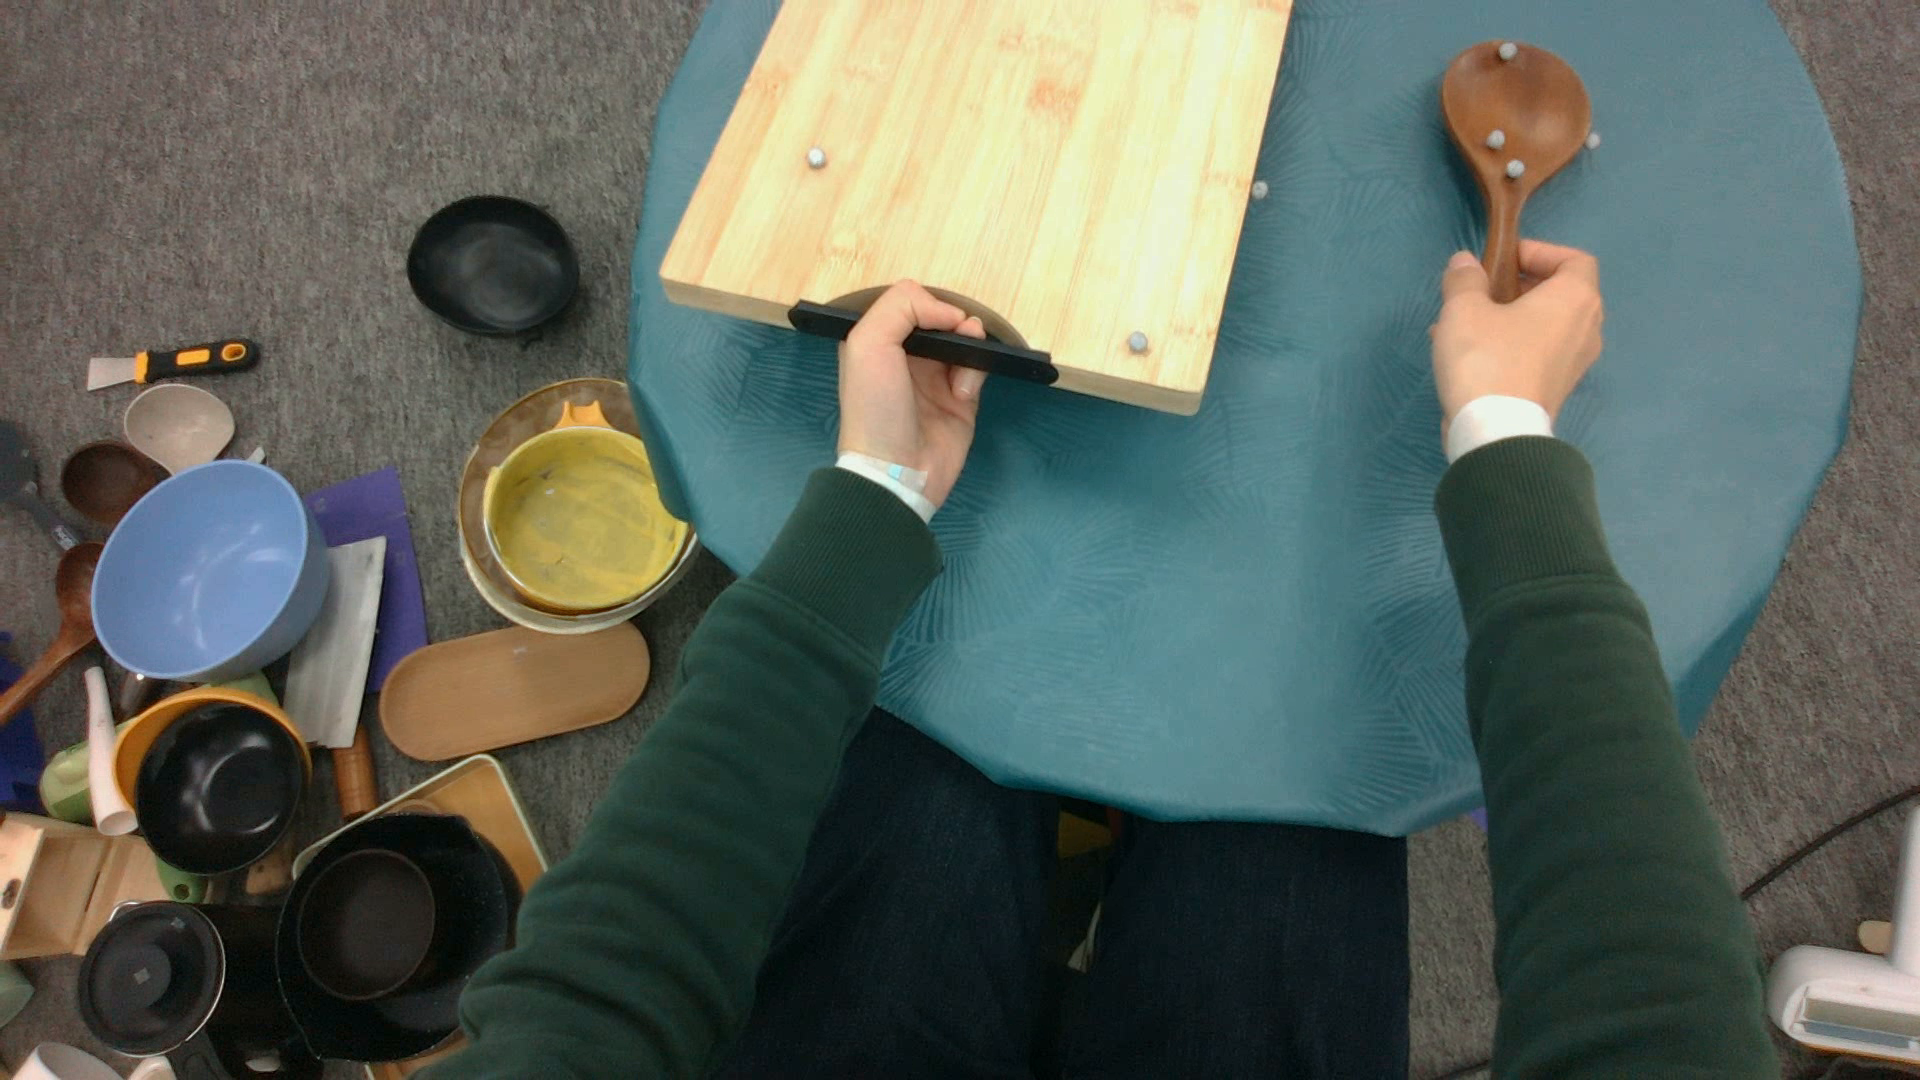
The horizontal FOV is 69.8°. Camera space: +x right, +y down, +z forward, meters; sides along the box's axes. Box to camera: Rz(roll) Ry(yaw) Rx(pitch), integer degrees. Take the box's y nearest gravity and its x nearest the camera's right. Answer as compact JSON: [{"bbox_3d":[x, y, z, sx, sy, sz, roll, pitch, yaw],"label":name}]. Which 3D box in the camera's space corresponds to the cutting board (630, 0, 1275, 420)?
[{"bbox_3d":[0.019,-0.225,0.665,0.250,0.023,0.350,12,62,7],"label":"cutting board"}]

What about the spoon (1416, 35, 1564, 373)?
[{"bbox_3d":[0.246,-0.164,0.651,0.075,0.017,0.217,16,59,2],"label":"spoon"}]
